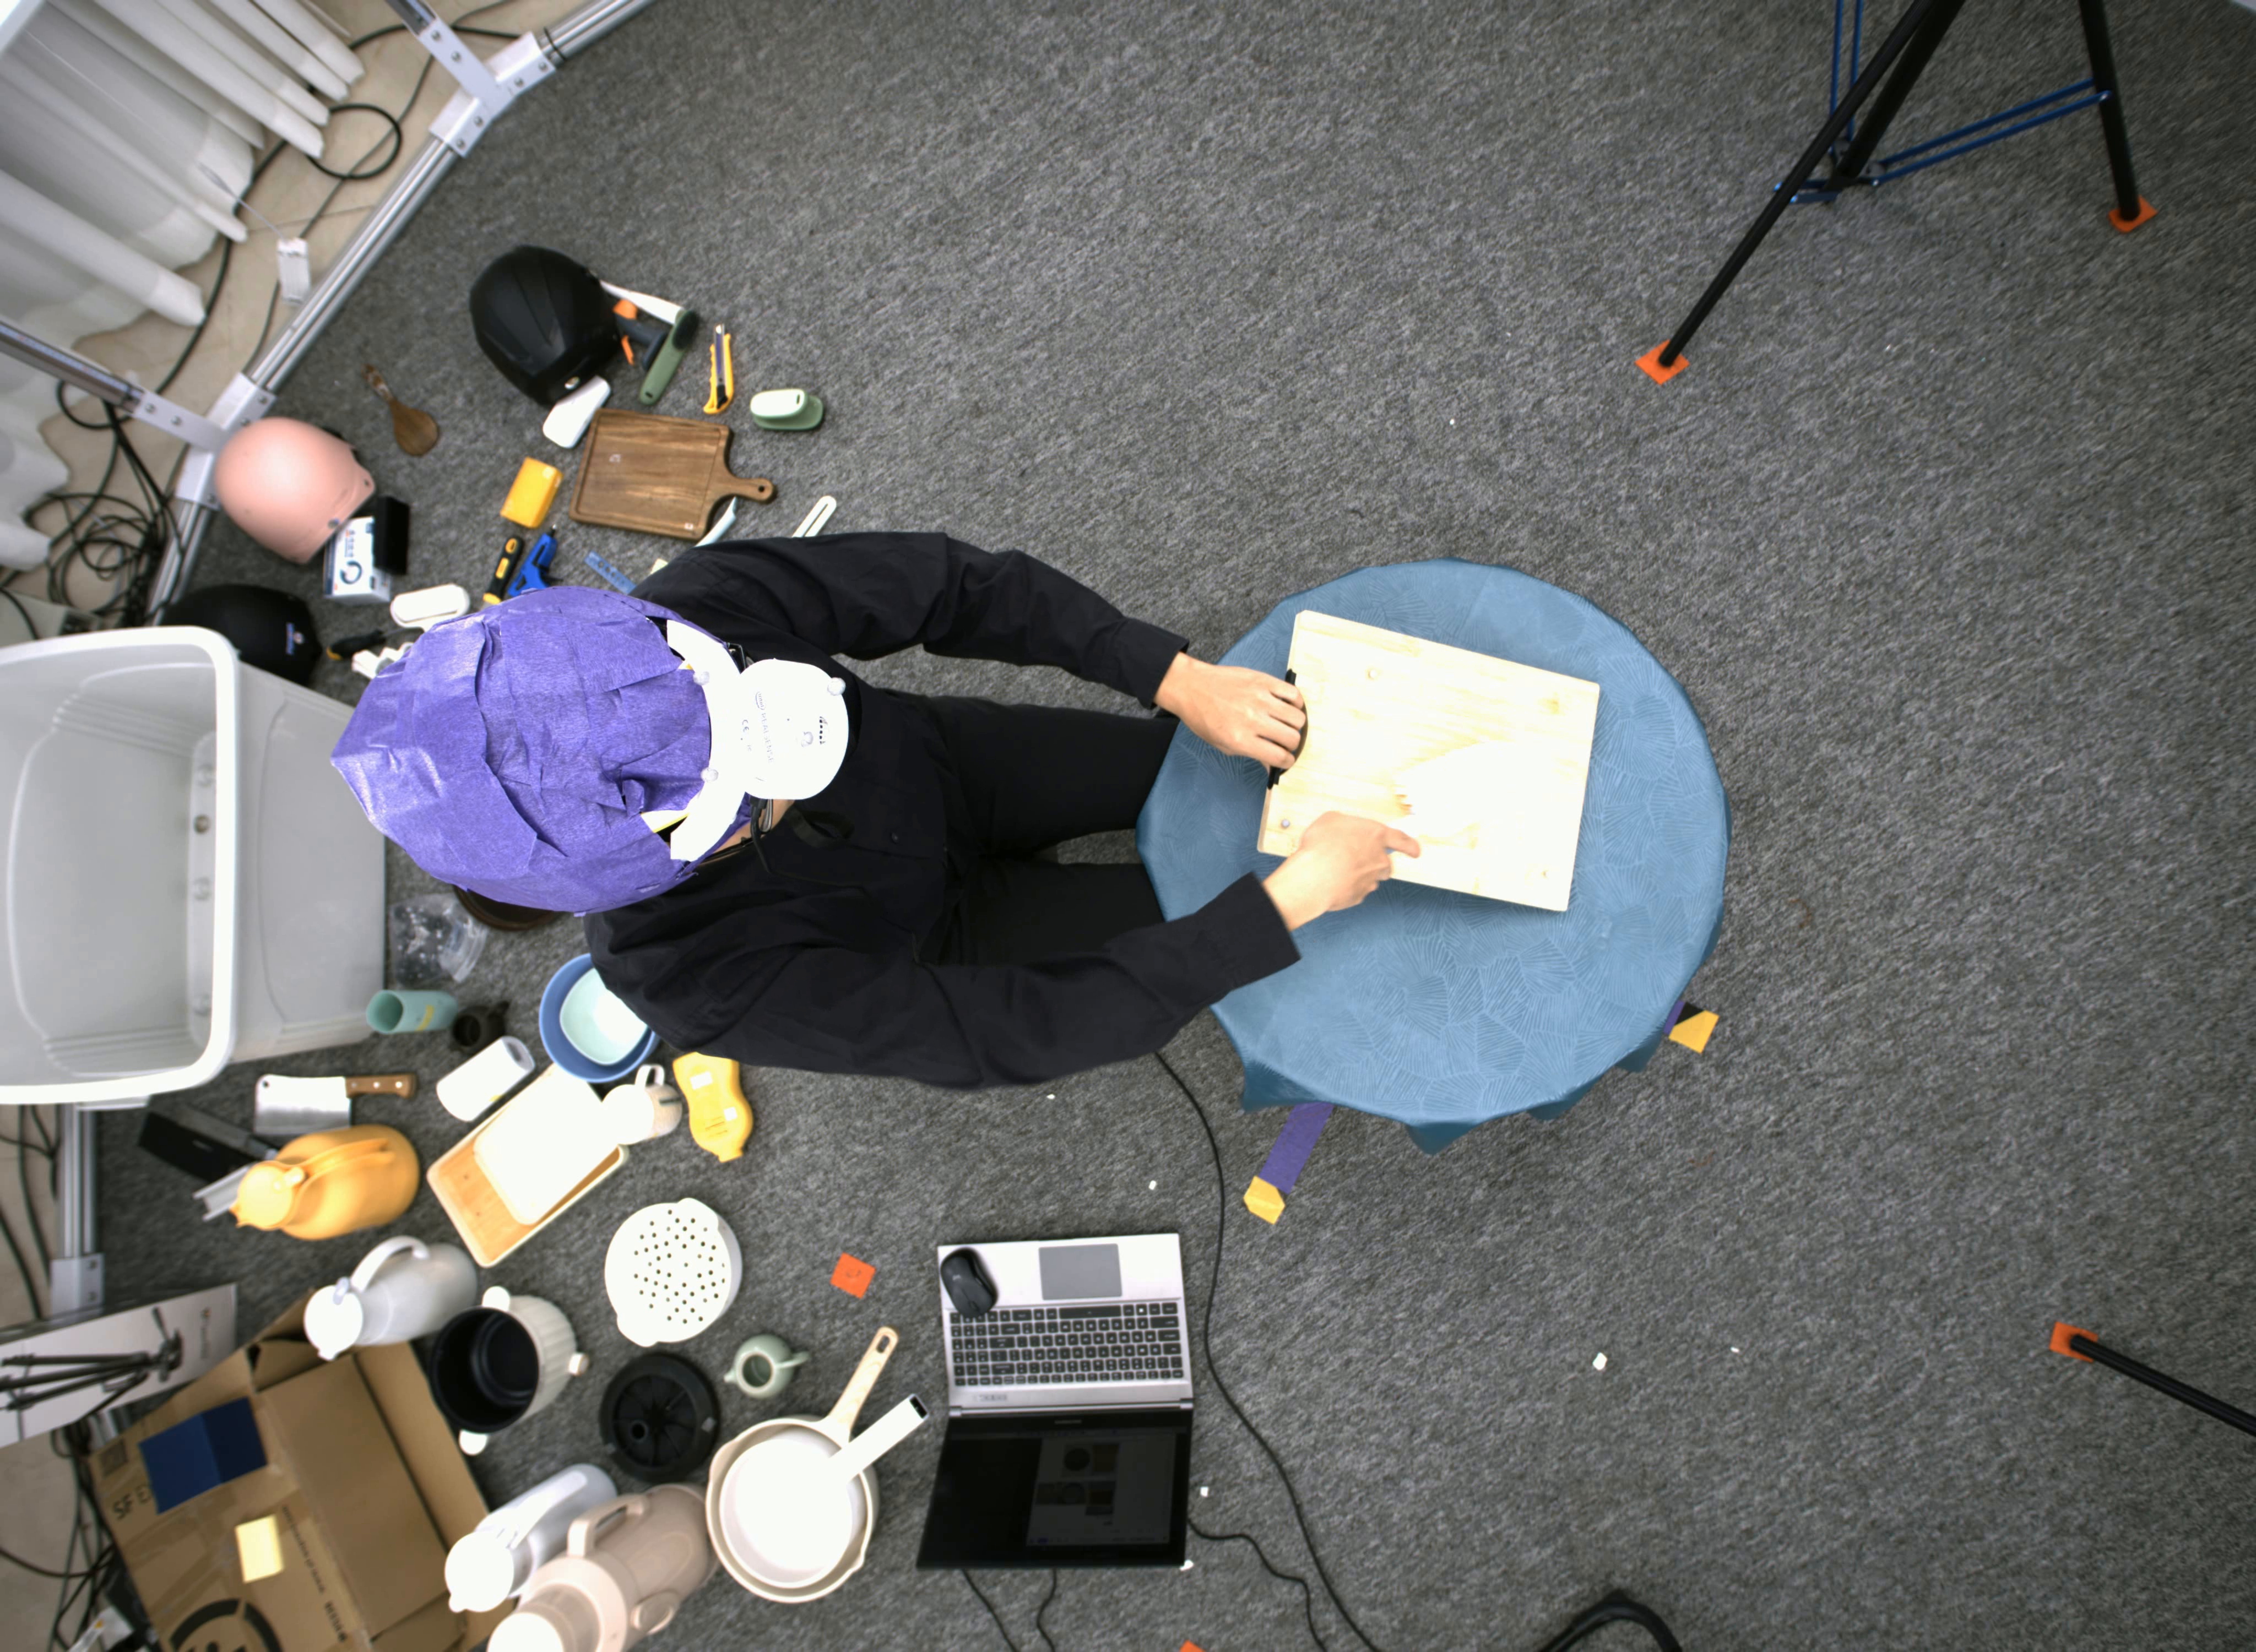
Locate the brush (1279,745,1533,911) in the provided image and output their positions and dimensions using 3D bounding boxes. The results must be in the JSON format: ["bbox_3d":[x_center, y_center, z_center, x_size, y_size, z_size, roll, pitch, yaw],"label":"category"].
[{"bbox_3d":[0.252,-0.003,1.314,0.321,0.087,0.082,-28,59,-23],"label":"brush"}]

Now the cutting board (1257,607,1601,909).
[{"bbox_3d":[0.307,-0.065,1.377,0.348,0.023,0.250,9,88,-15],"label":"cutting board"}]
